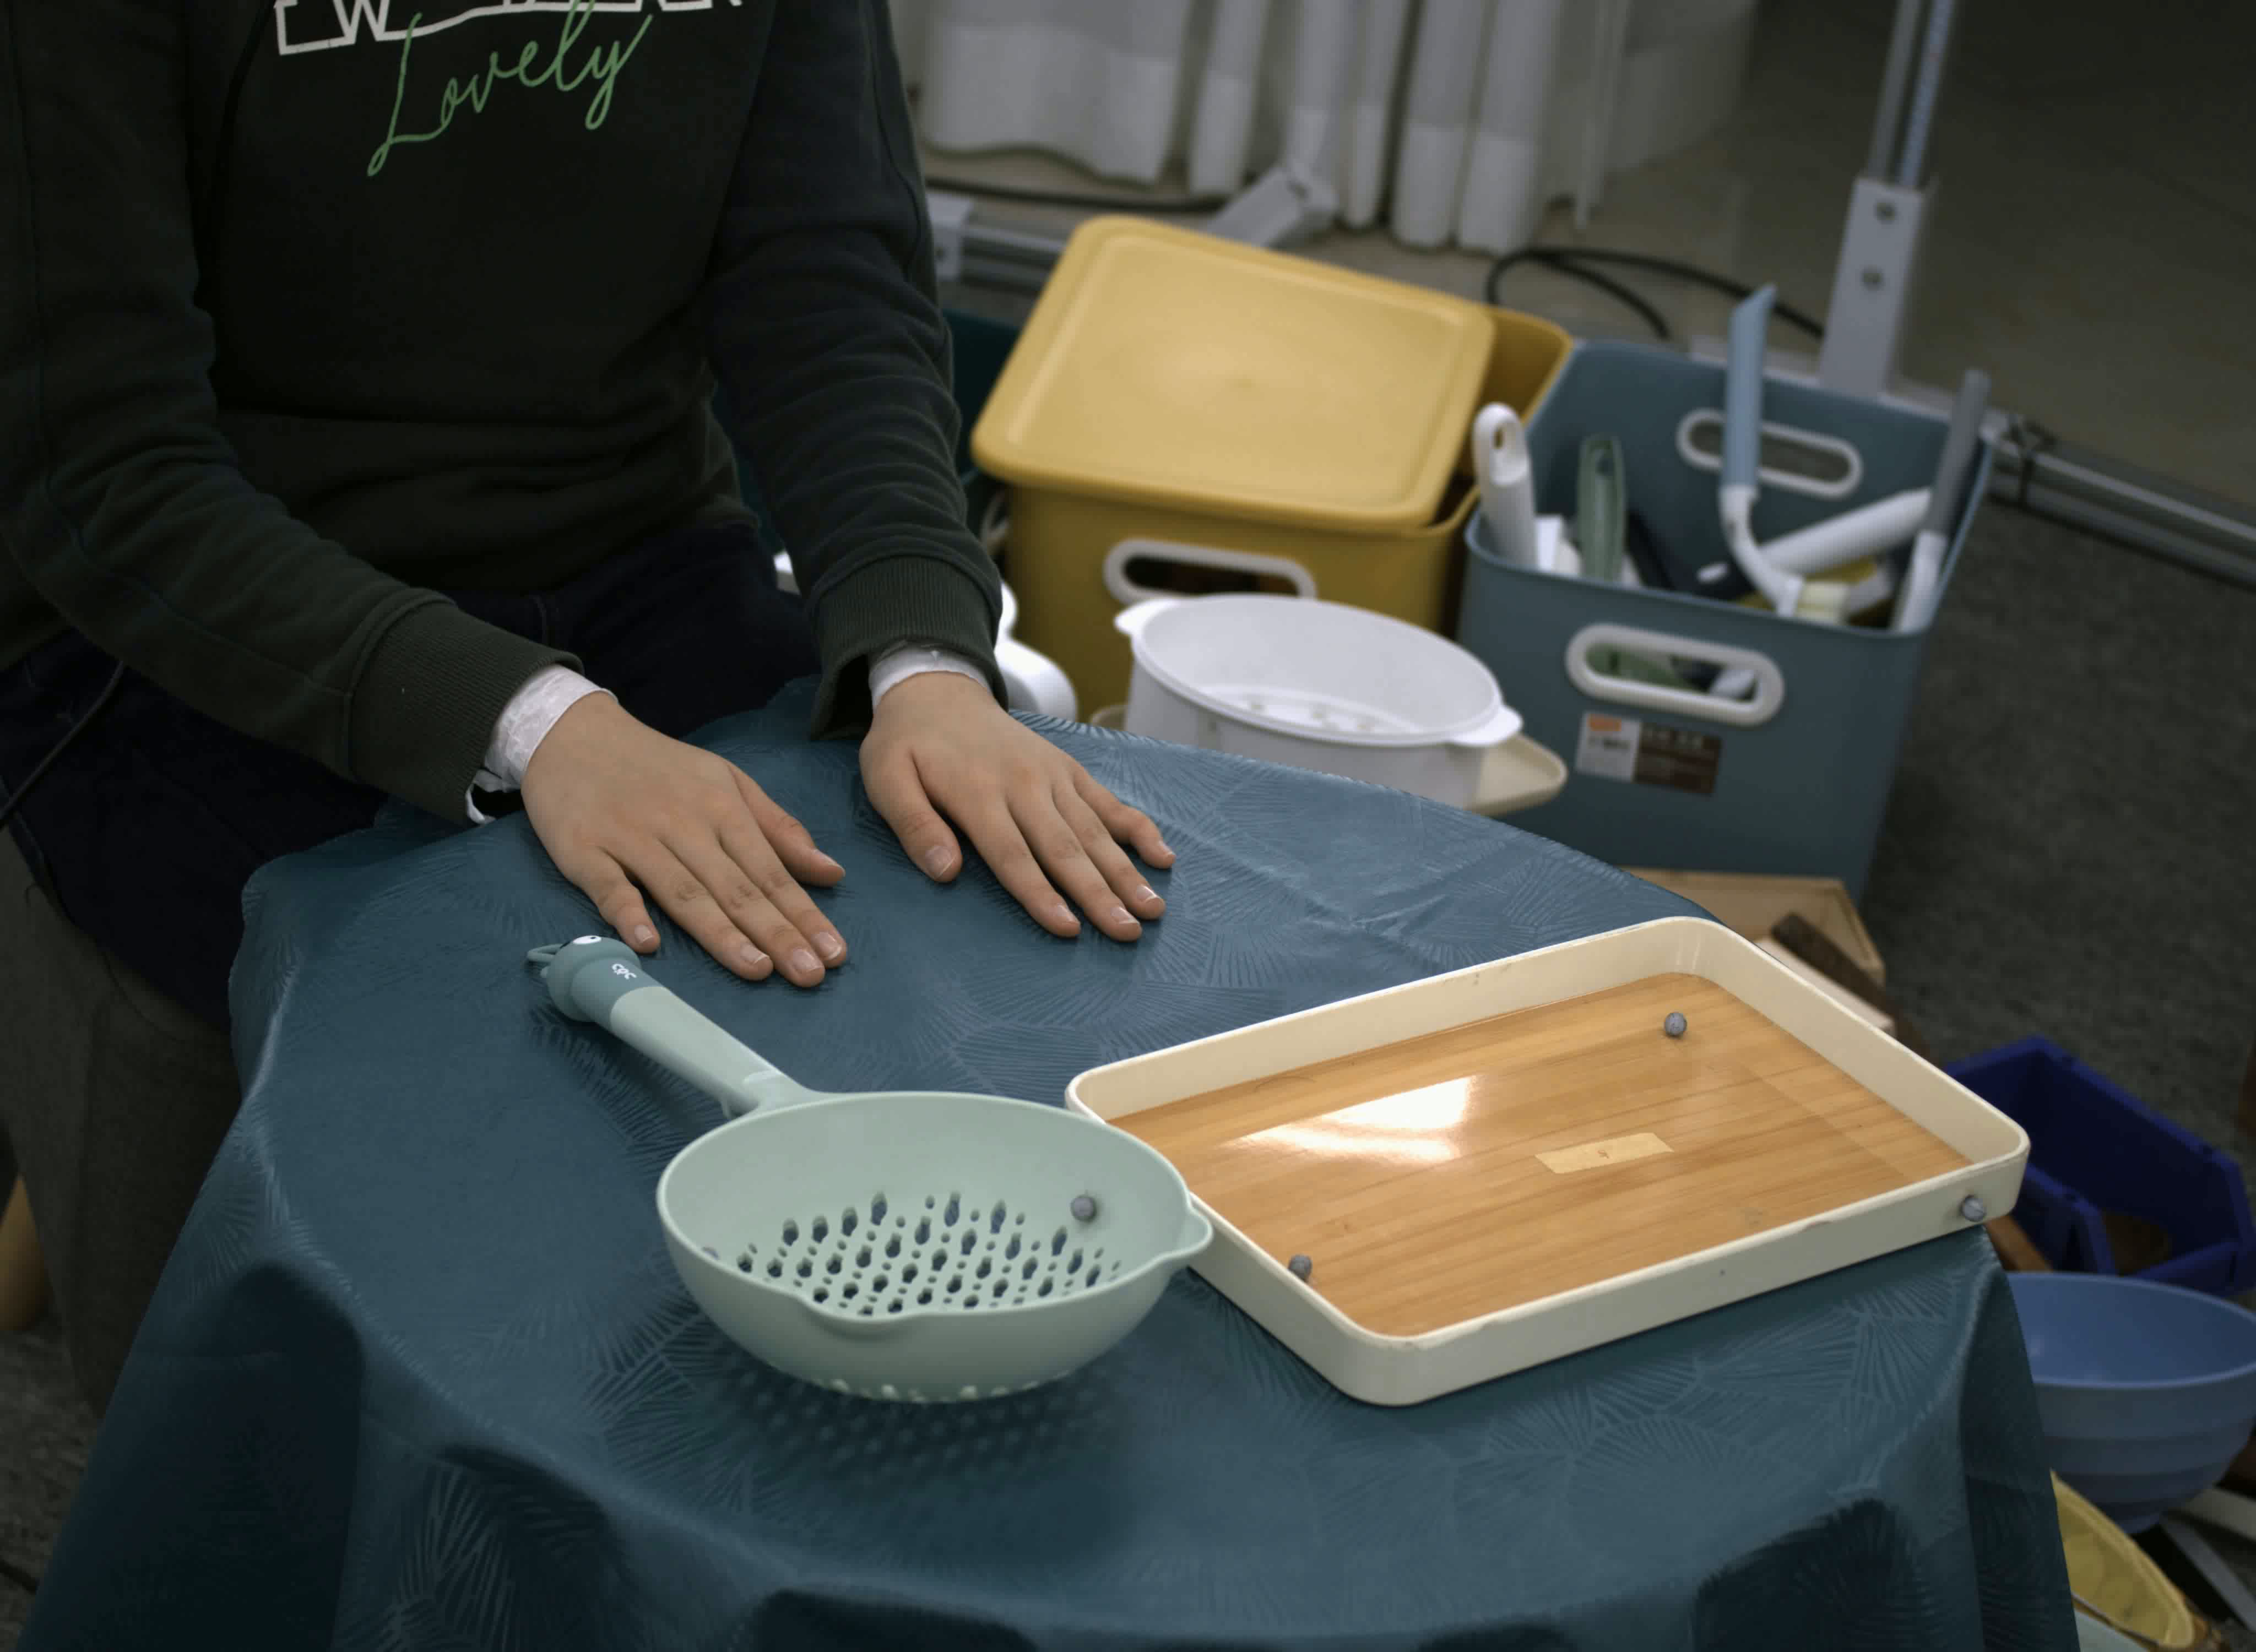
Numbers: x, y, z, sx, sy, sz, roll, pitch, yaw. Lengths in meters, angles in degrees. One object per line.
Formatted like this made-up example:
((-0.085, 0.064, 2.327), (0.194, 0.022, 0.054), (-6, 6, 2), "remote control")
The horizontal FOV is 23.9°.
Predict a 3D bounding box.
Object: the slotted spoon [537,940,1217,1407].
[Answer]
((-0.114, 0.098, 1.754), (0.168, 0.075, 0.362), (-9, 30, -29), "slotted spoon")

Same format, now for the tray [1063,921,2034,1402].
((0.145, 0.110, 1.830), (0.298, 0.027, 0.193), (-12, 32, -34), "tray")
